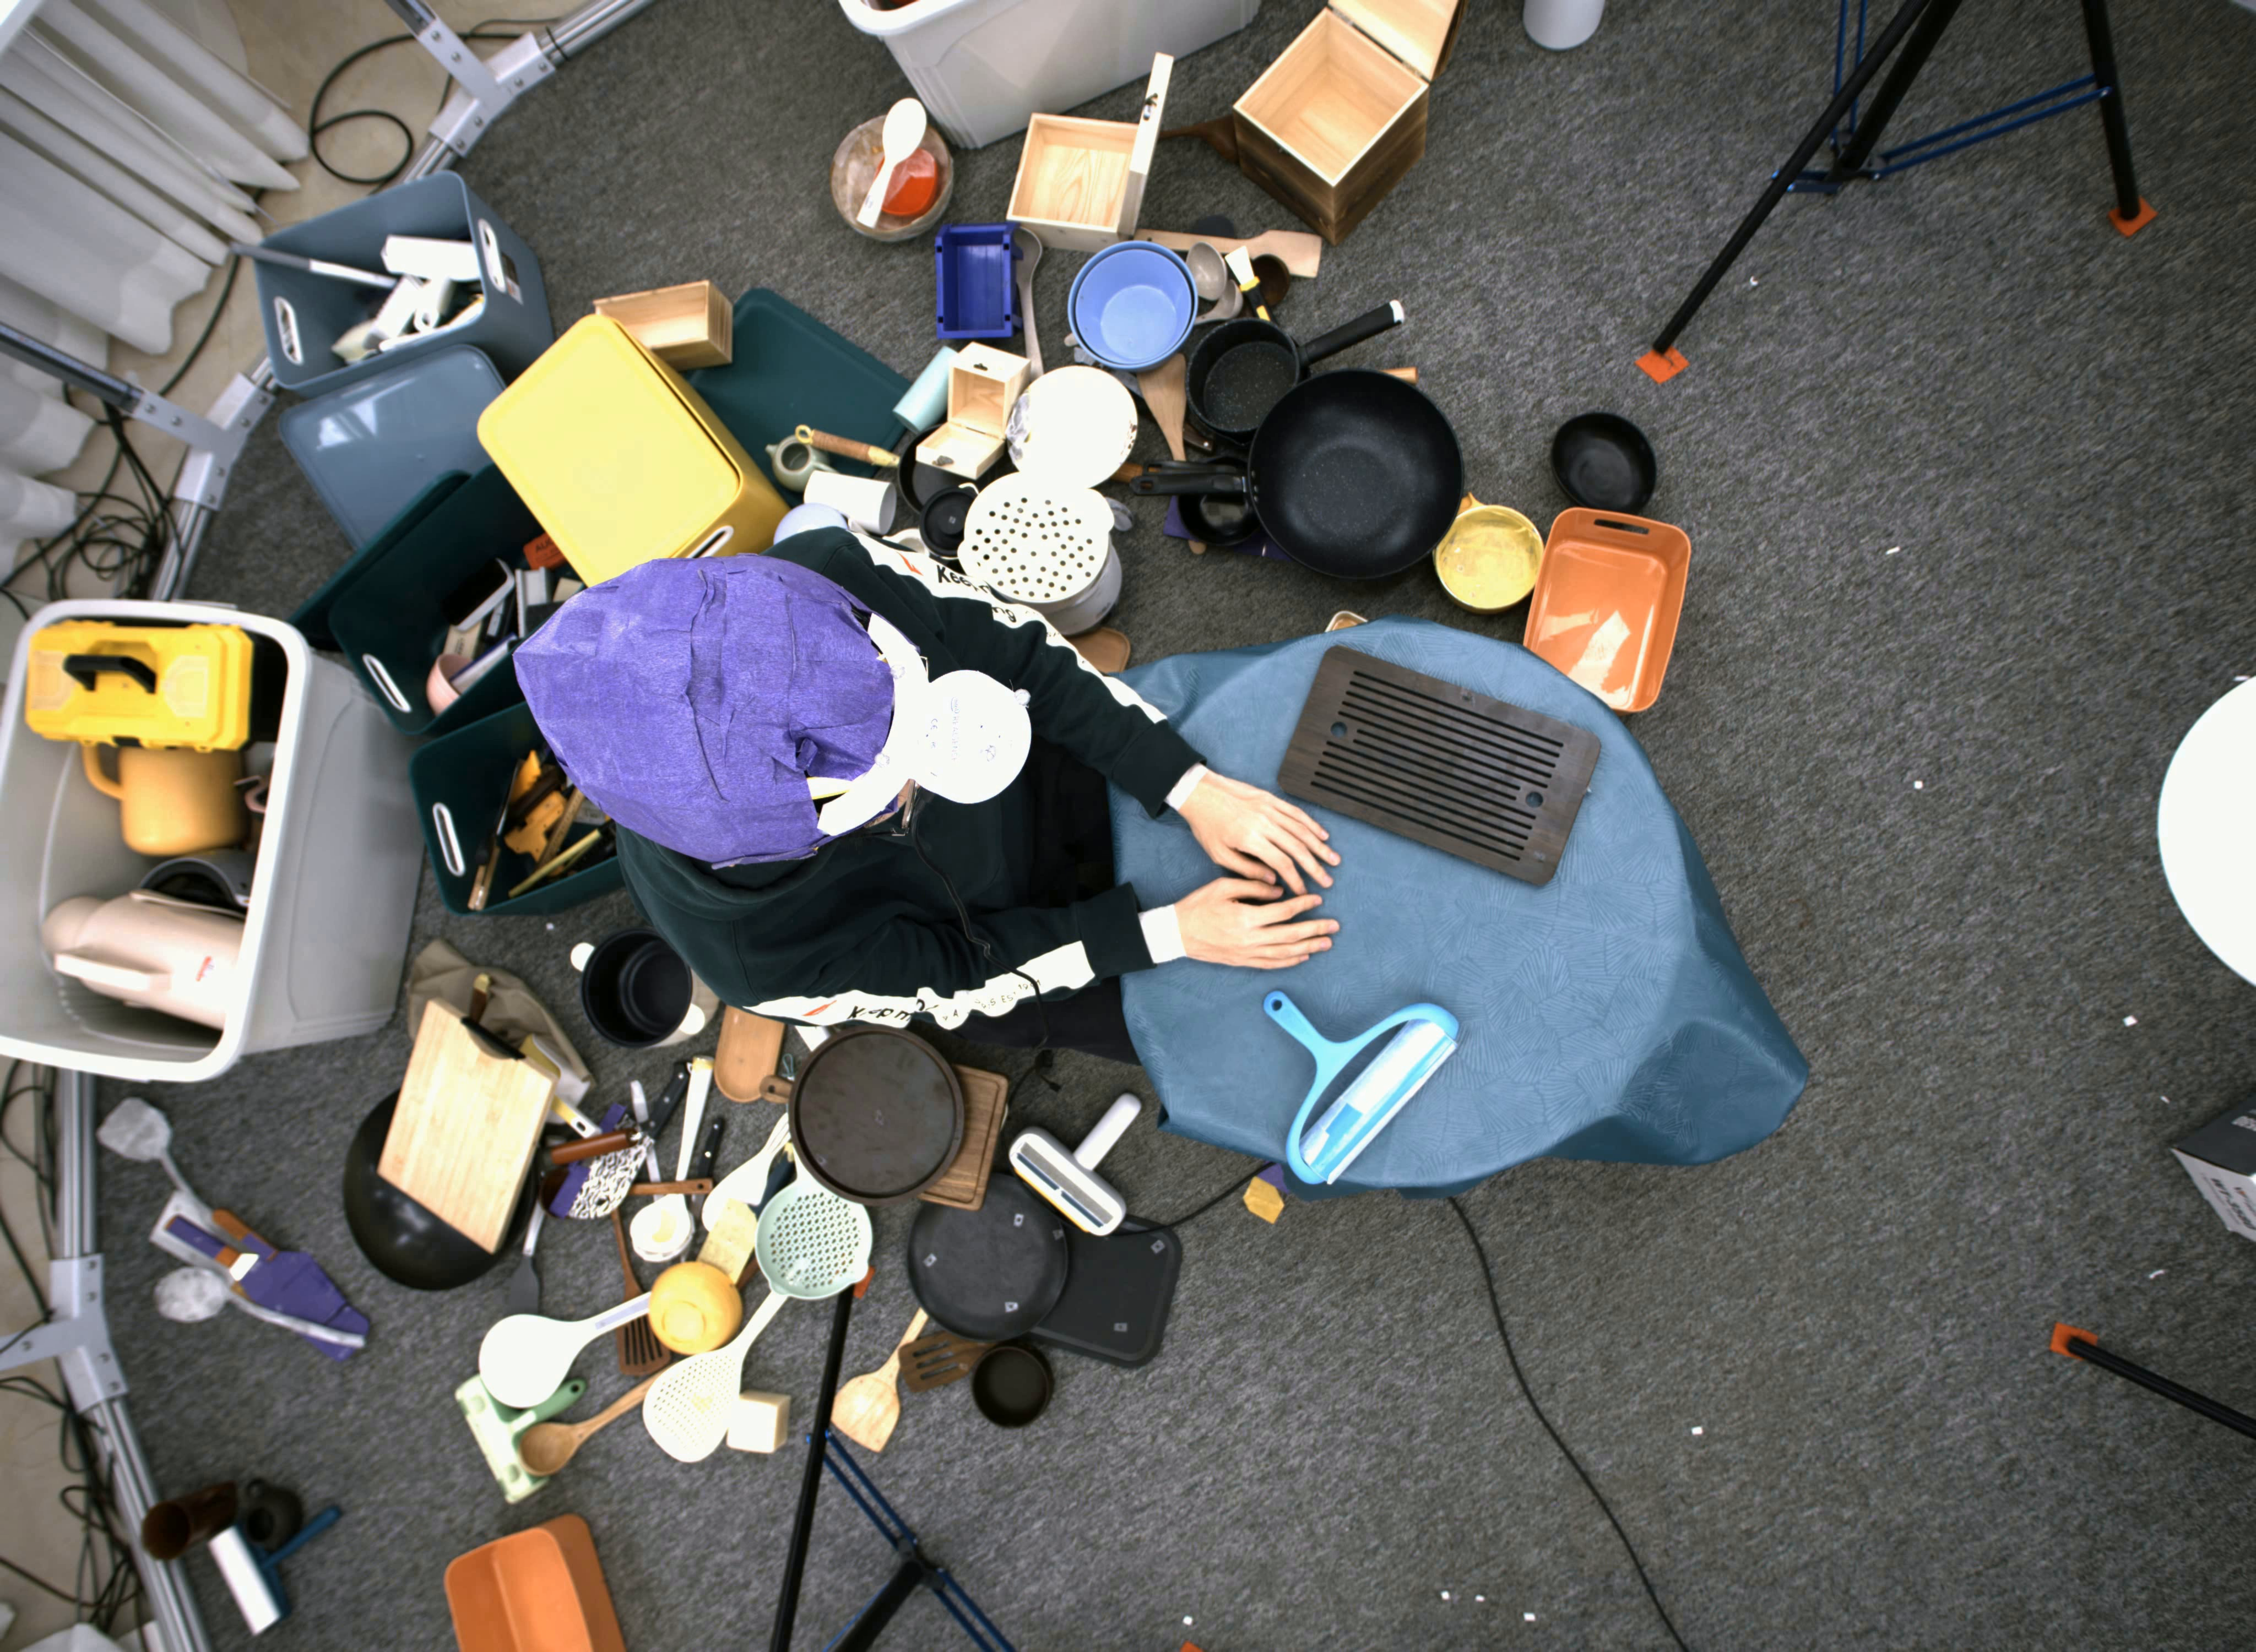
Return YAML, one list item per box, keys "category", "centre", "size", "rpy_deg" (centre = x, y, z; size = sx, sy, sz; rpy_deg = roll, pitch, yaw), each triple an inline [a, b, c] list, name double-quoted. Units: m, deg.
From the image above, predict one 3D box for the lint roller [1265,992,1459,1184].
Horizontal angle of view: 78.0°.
- category: "lint roller"
  centre: [0.210, 0.238, 1.428]
  size: [0.180, 0.068, 0.230]
  rpy_deg: [40, 96, 8]

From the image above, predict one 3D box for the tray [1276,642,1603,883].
- category: "tray"
  centre: [0.325, -0.070, 1.443]
  size: [0.306, 0.018, 0.170]
  rpy_deg: [21, 91, 11]
